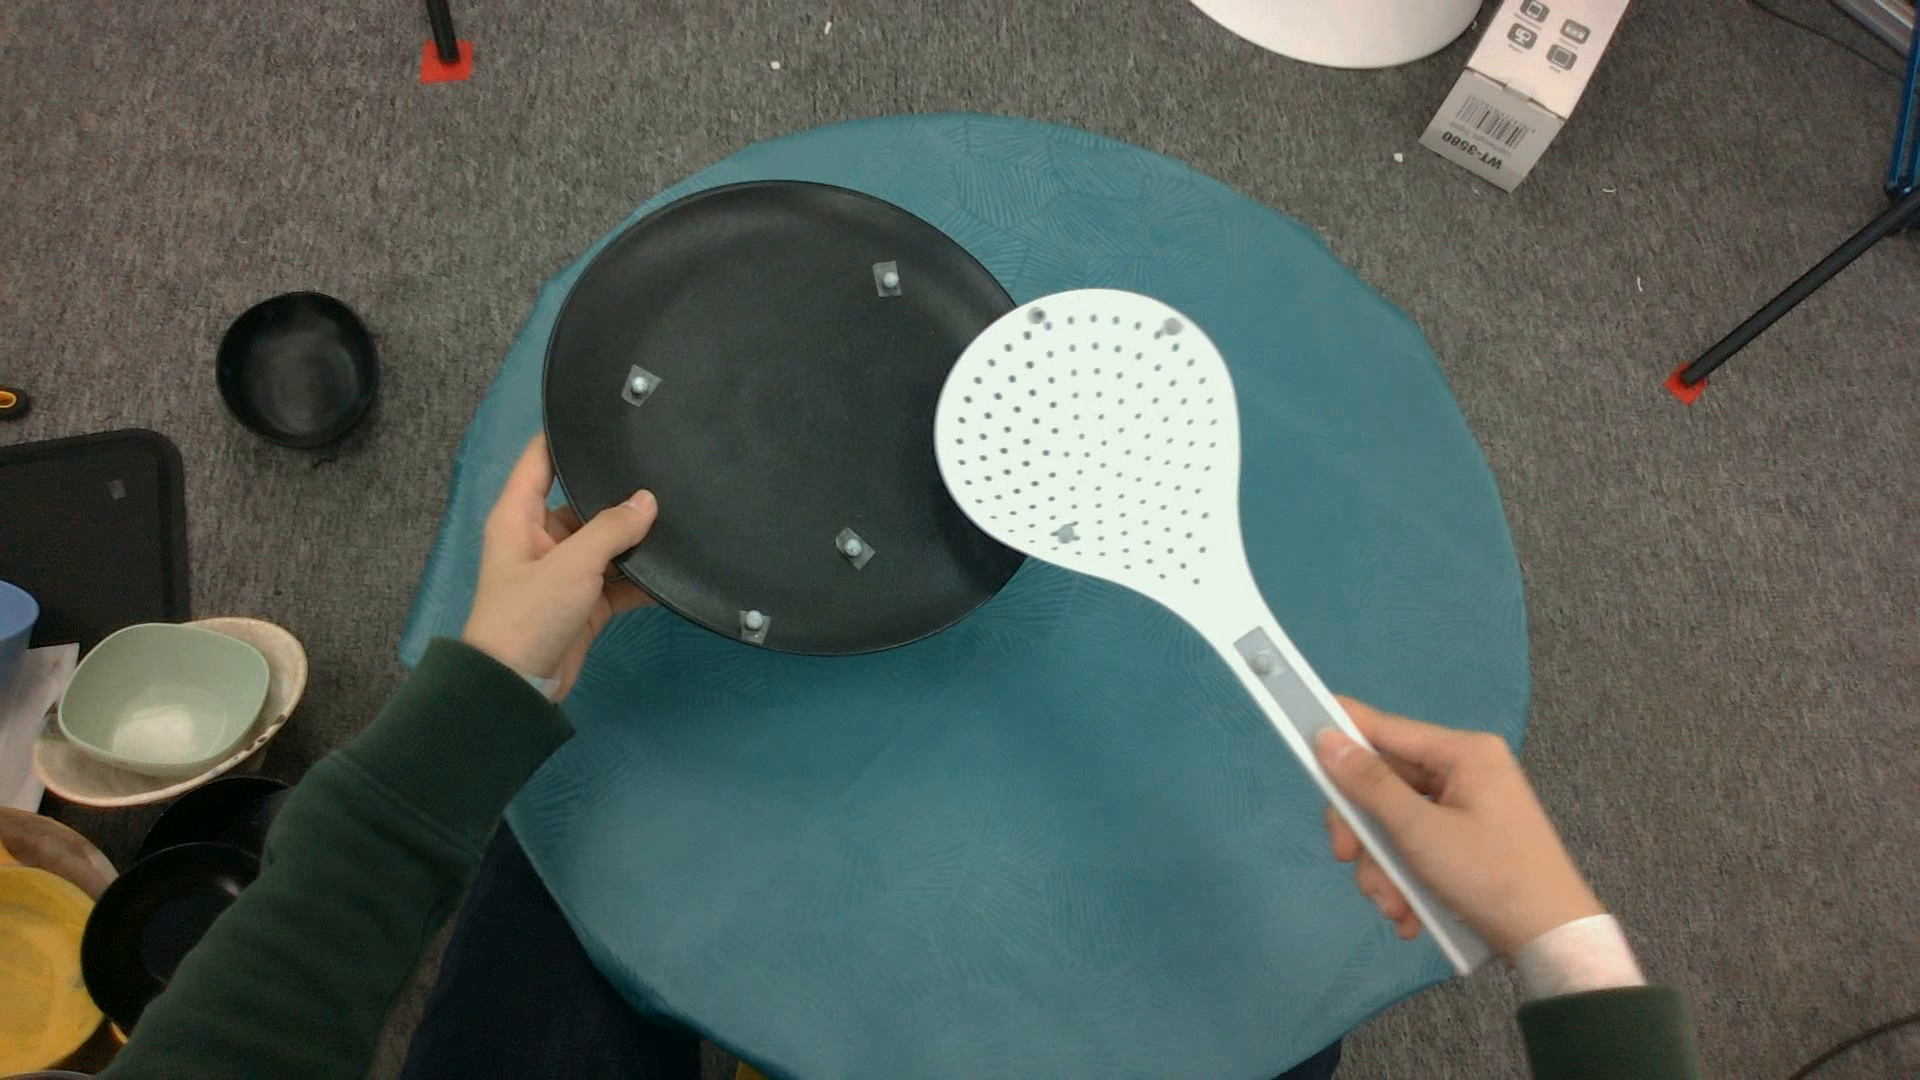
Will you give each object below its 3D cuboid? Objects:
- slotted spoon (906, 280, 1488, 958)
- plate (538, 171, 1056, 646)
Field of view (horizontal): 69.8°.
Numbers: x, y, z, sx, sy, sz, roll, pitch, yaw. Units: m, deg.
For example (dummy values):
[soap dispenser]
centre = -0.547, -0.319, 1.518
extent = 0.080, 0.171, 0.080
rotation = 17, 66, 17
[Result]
[slotted spoon]
centre = 0.103, 0.025, 0.600
extent = 0.136, 0.045, 0.350
rotation = -33, 65, -9
[plate]
centre = -0.072, -0.065, 0.651
extent = 0.244, 0.023, 0.245
rotation = 6, 68, -16
